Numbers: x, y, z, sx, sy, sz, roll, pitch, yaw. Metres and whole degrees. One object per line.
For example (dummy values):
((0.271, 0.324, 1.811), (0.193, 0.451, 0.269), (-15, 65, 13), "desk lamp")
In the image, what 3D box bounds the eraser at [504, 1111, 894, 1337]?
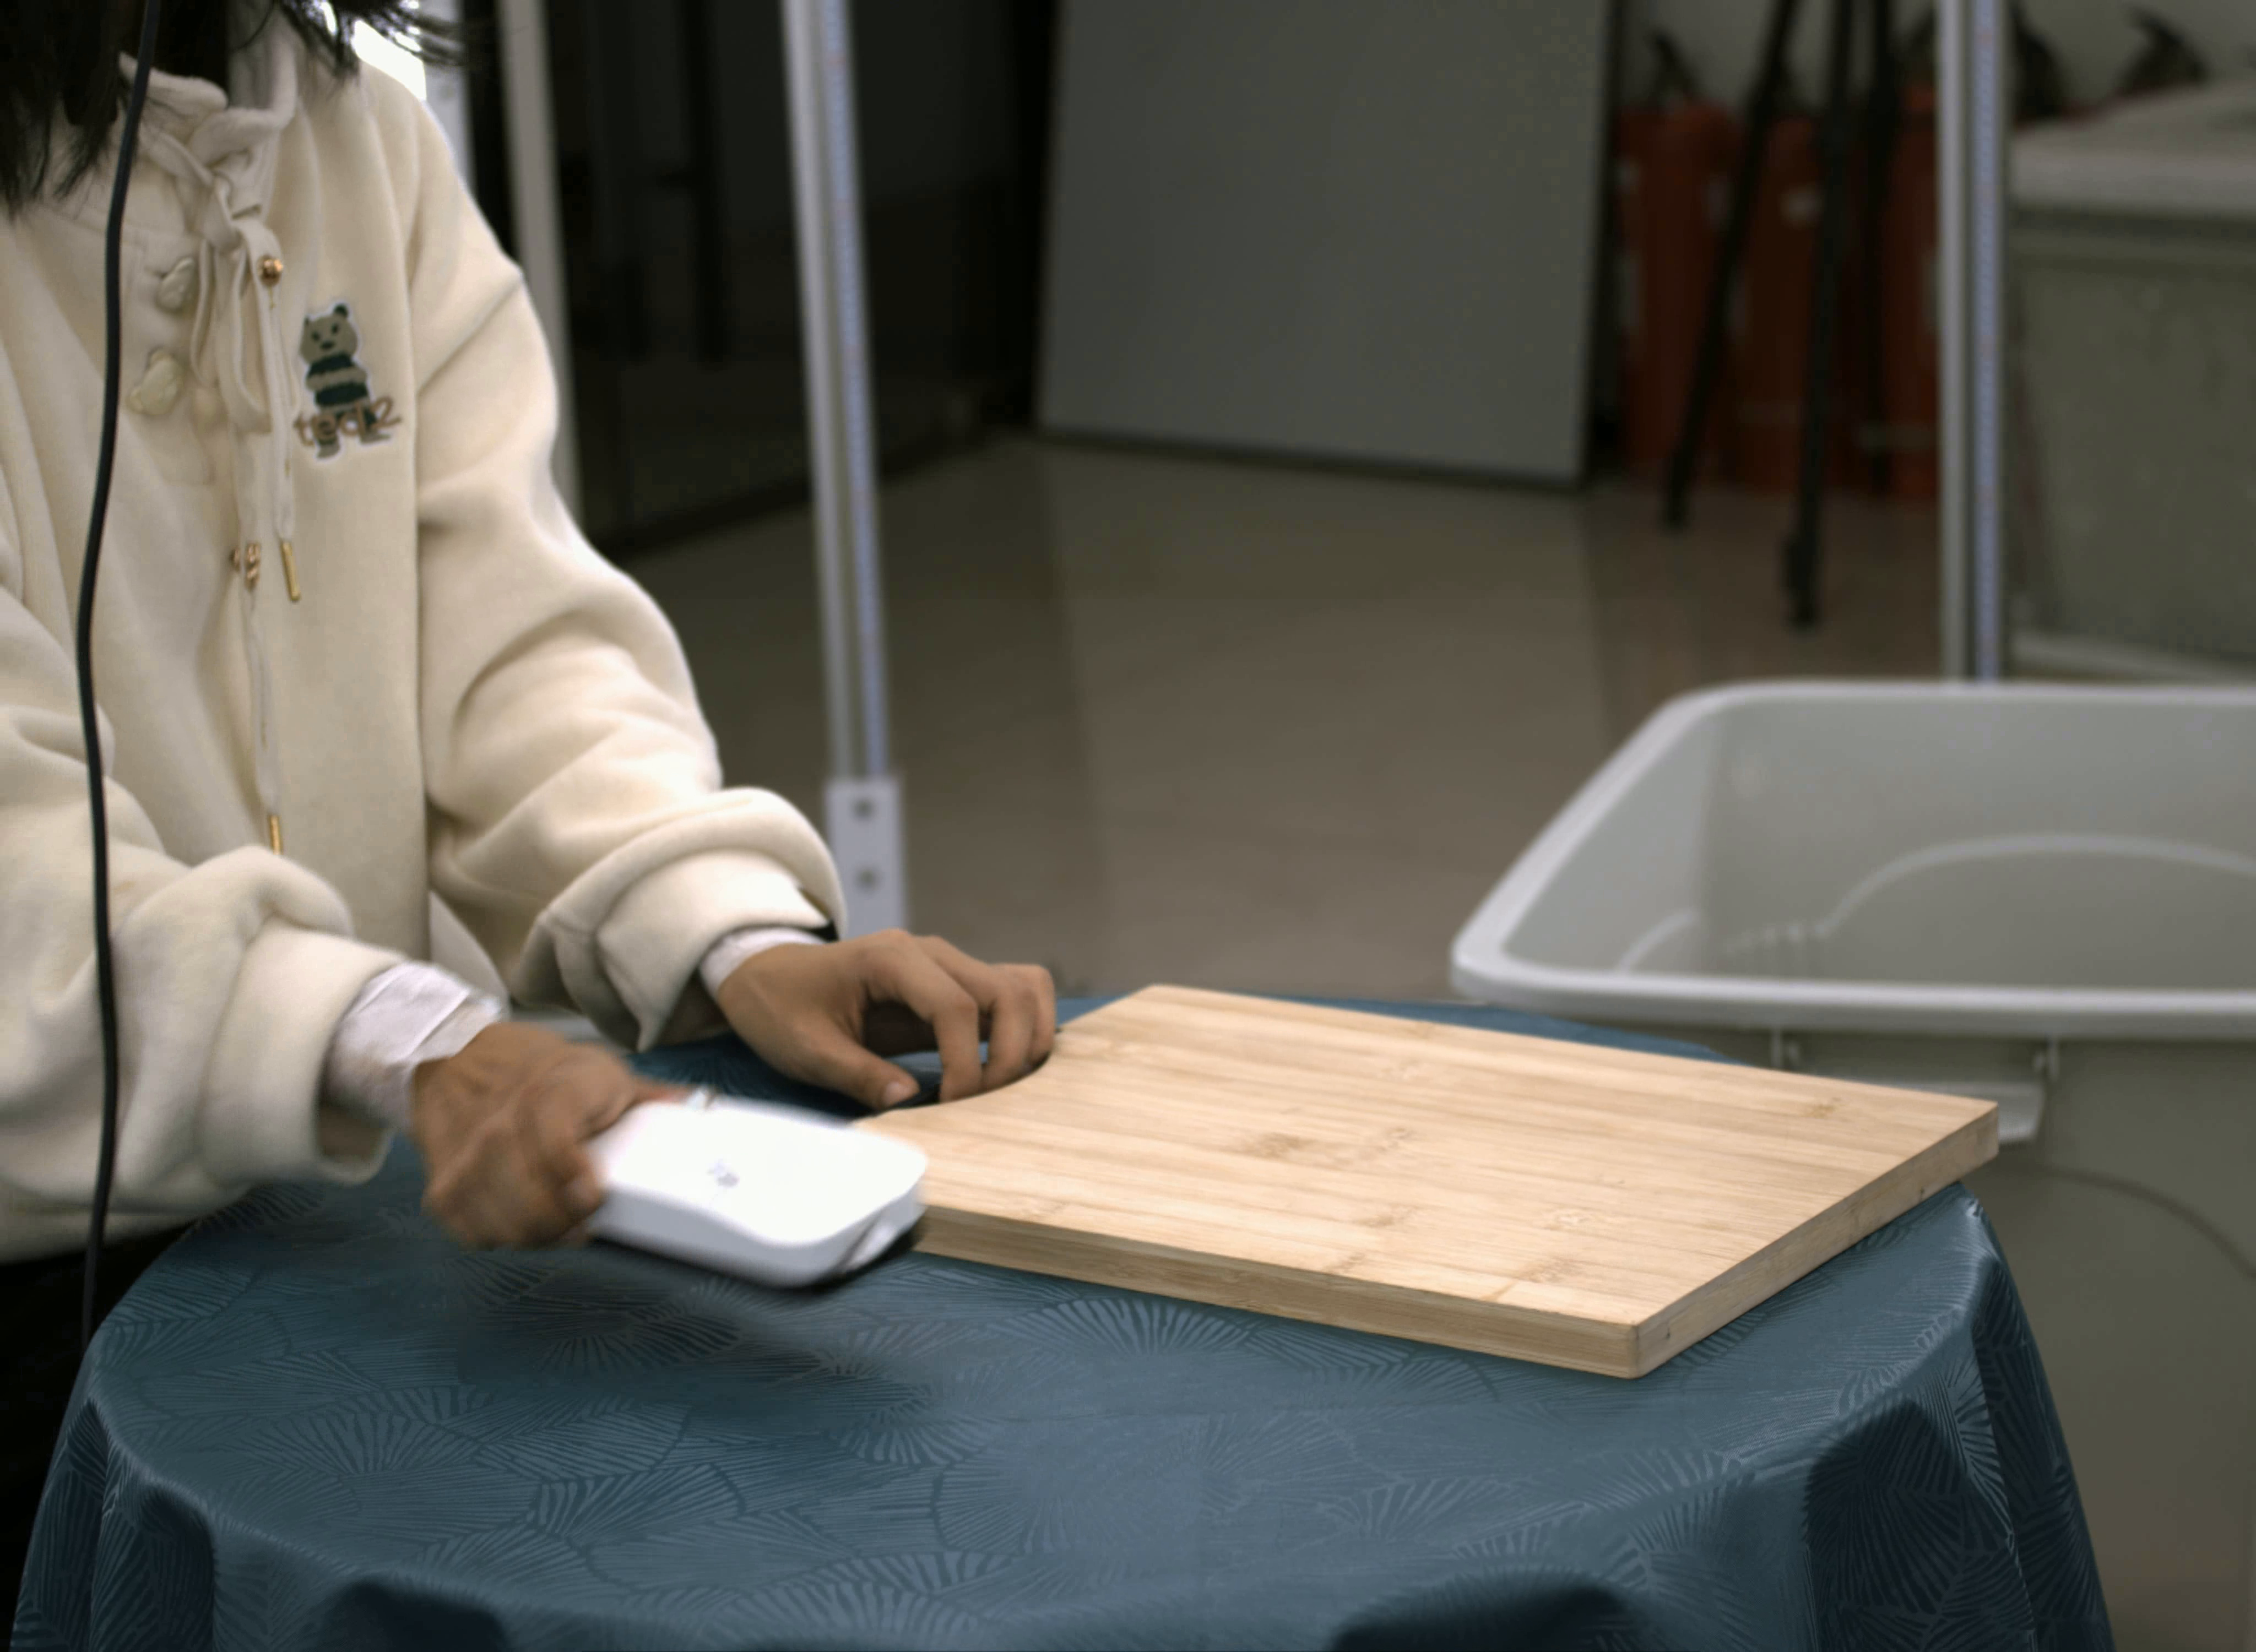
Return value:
((-0.129, 0.117, 1.634), (0.062, 0.035, 0.132), (-25, 27, -39), "eraser")

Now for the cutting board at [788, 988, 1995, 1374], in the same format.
((0.076, 0.110, 1.758), (0.351, 0.024, 0.246), (6, 17, 36), "cutting board")
